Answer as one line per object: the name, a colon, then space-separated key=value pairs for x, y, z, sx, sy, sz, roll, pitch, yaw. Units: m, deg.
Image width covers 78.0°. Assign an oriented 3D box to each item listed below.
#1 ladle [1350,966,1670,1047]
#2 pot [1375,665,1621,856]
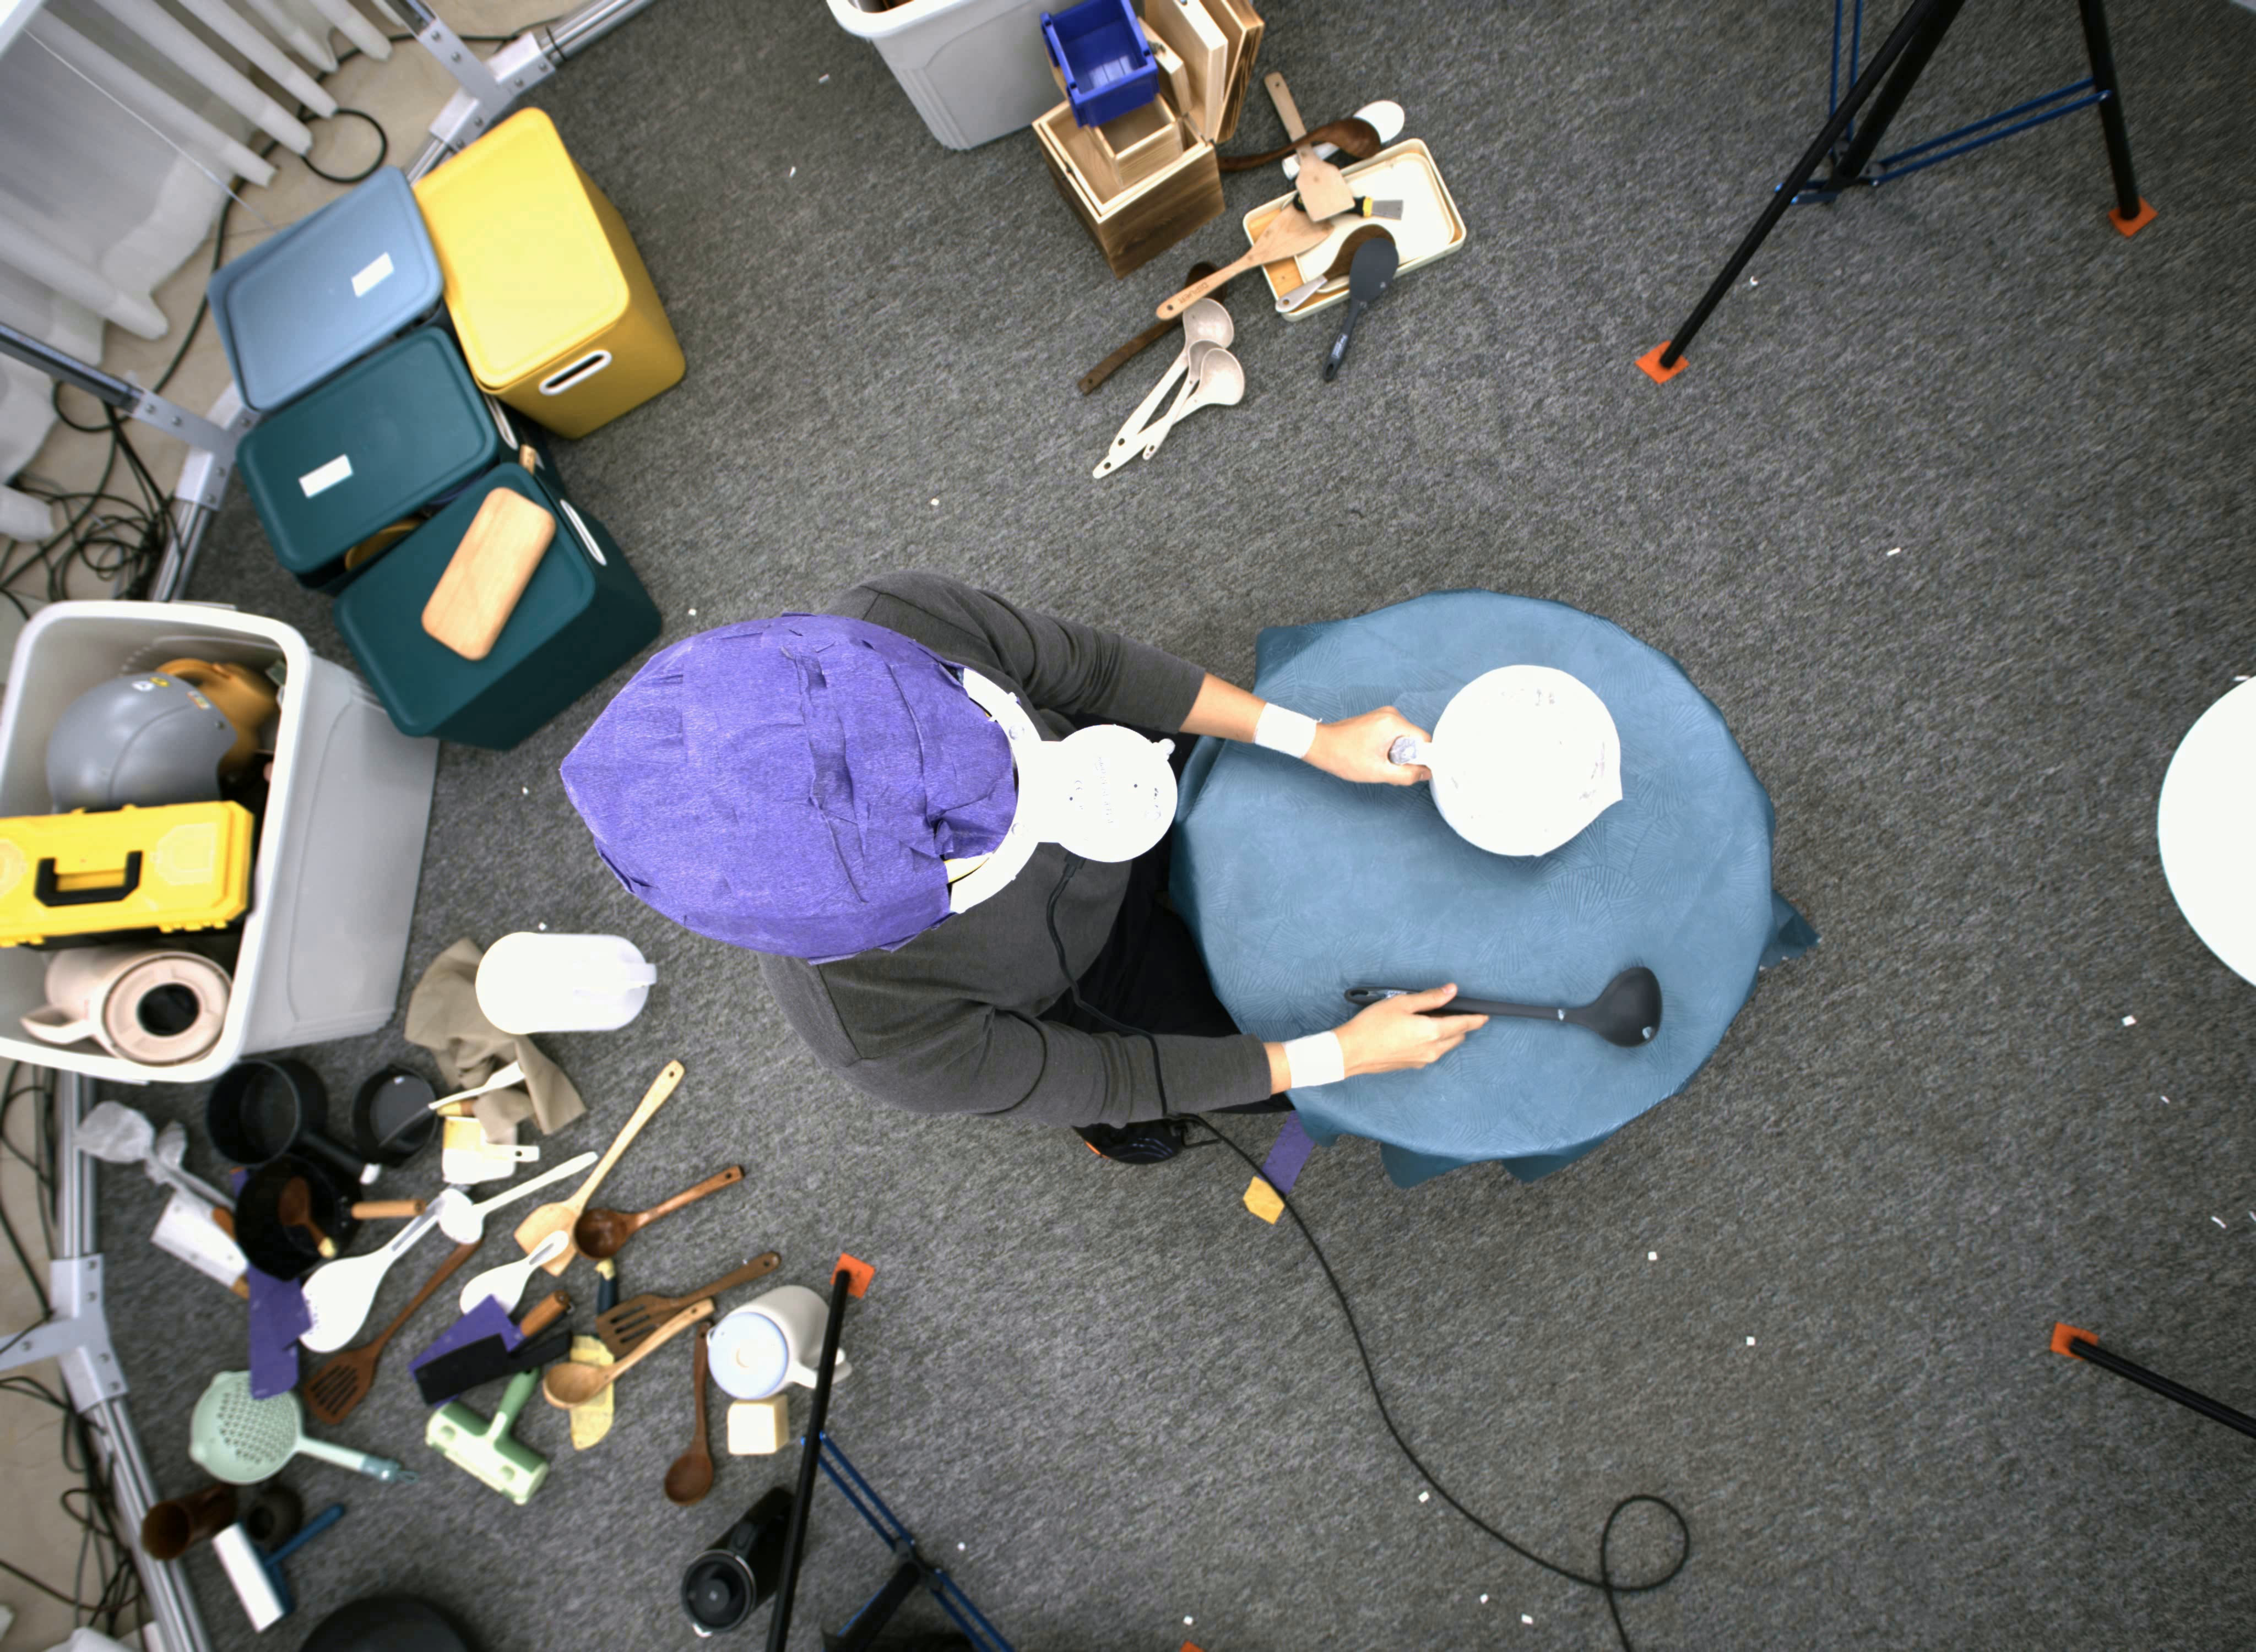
ladle: x=0.384 y=0.172 z=1.392 sx=0.315 sy=0.065 sz=0.084 roll=5 pitch=53 yaw=6
pot: x=0.366 y=-0.065 z=1.380 sx=0.234 sy=0.137 sz=0.178 roll=5 pitch=86 yaw=12
